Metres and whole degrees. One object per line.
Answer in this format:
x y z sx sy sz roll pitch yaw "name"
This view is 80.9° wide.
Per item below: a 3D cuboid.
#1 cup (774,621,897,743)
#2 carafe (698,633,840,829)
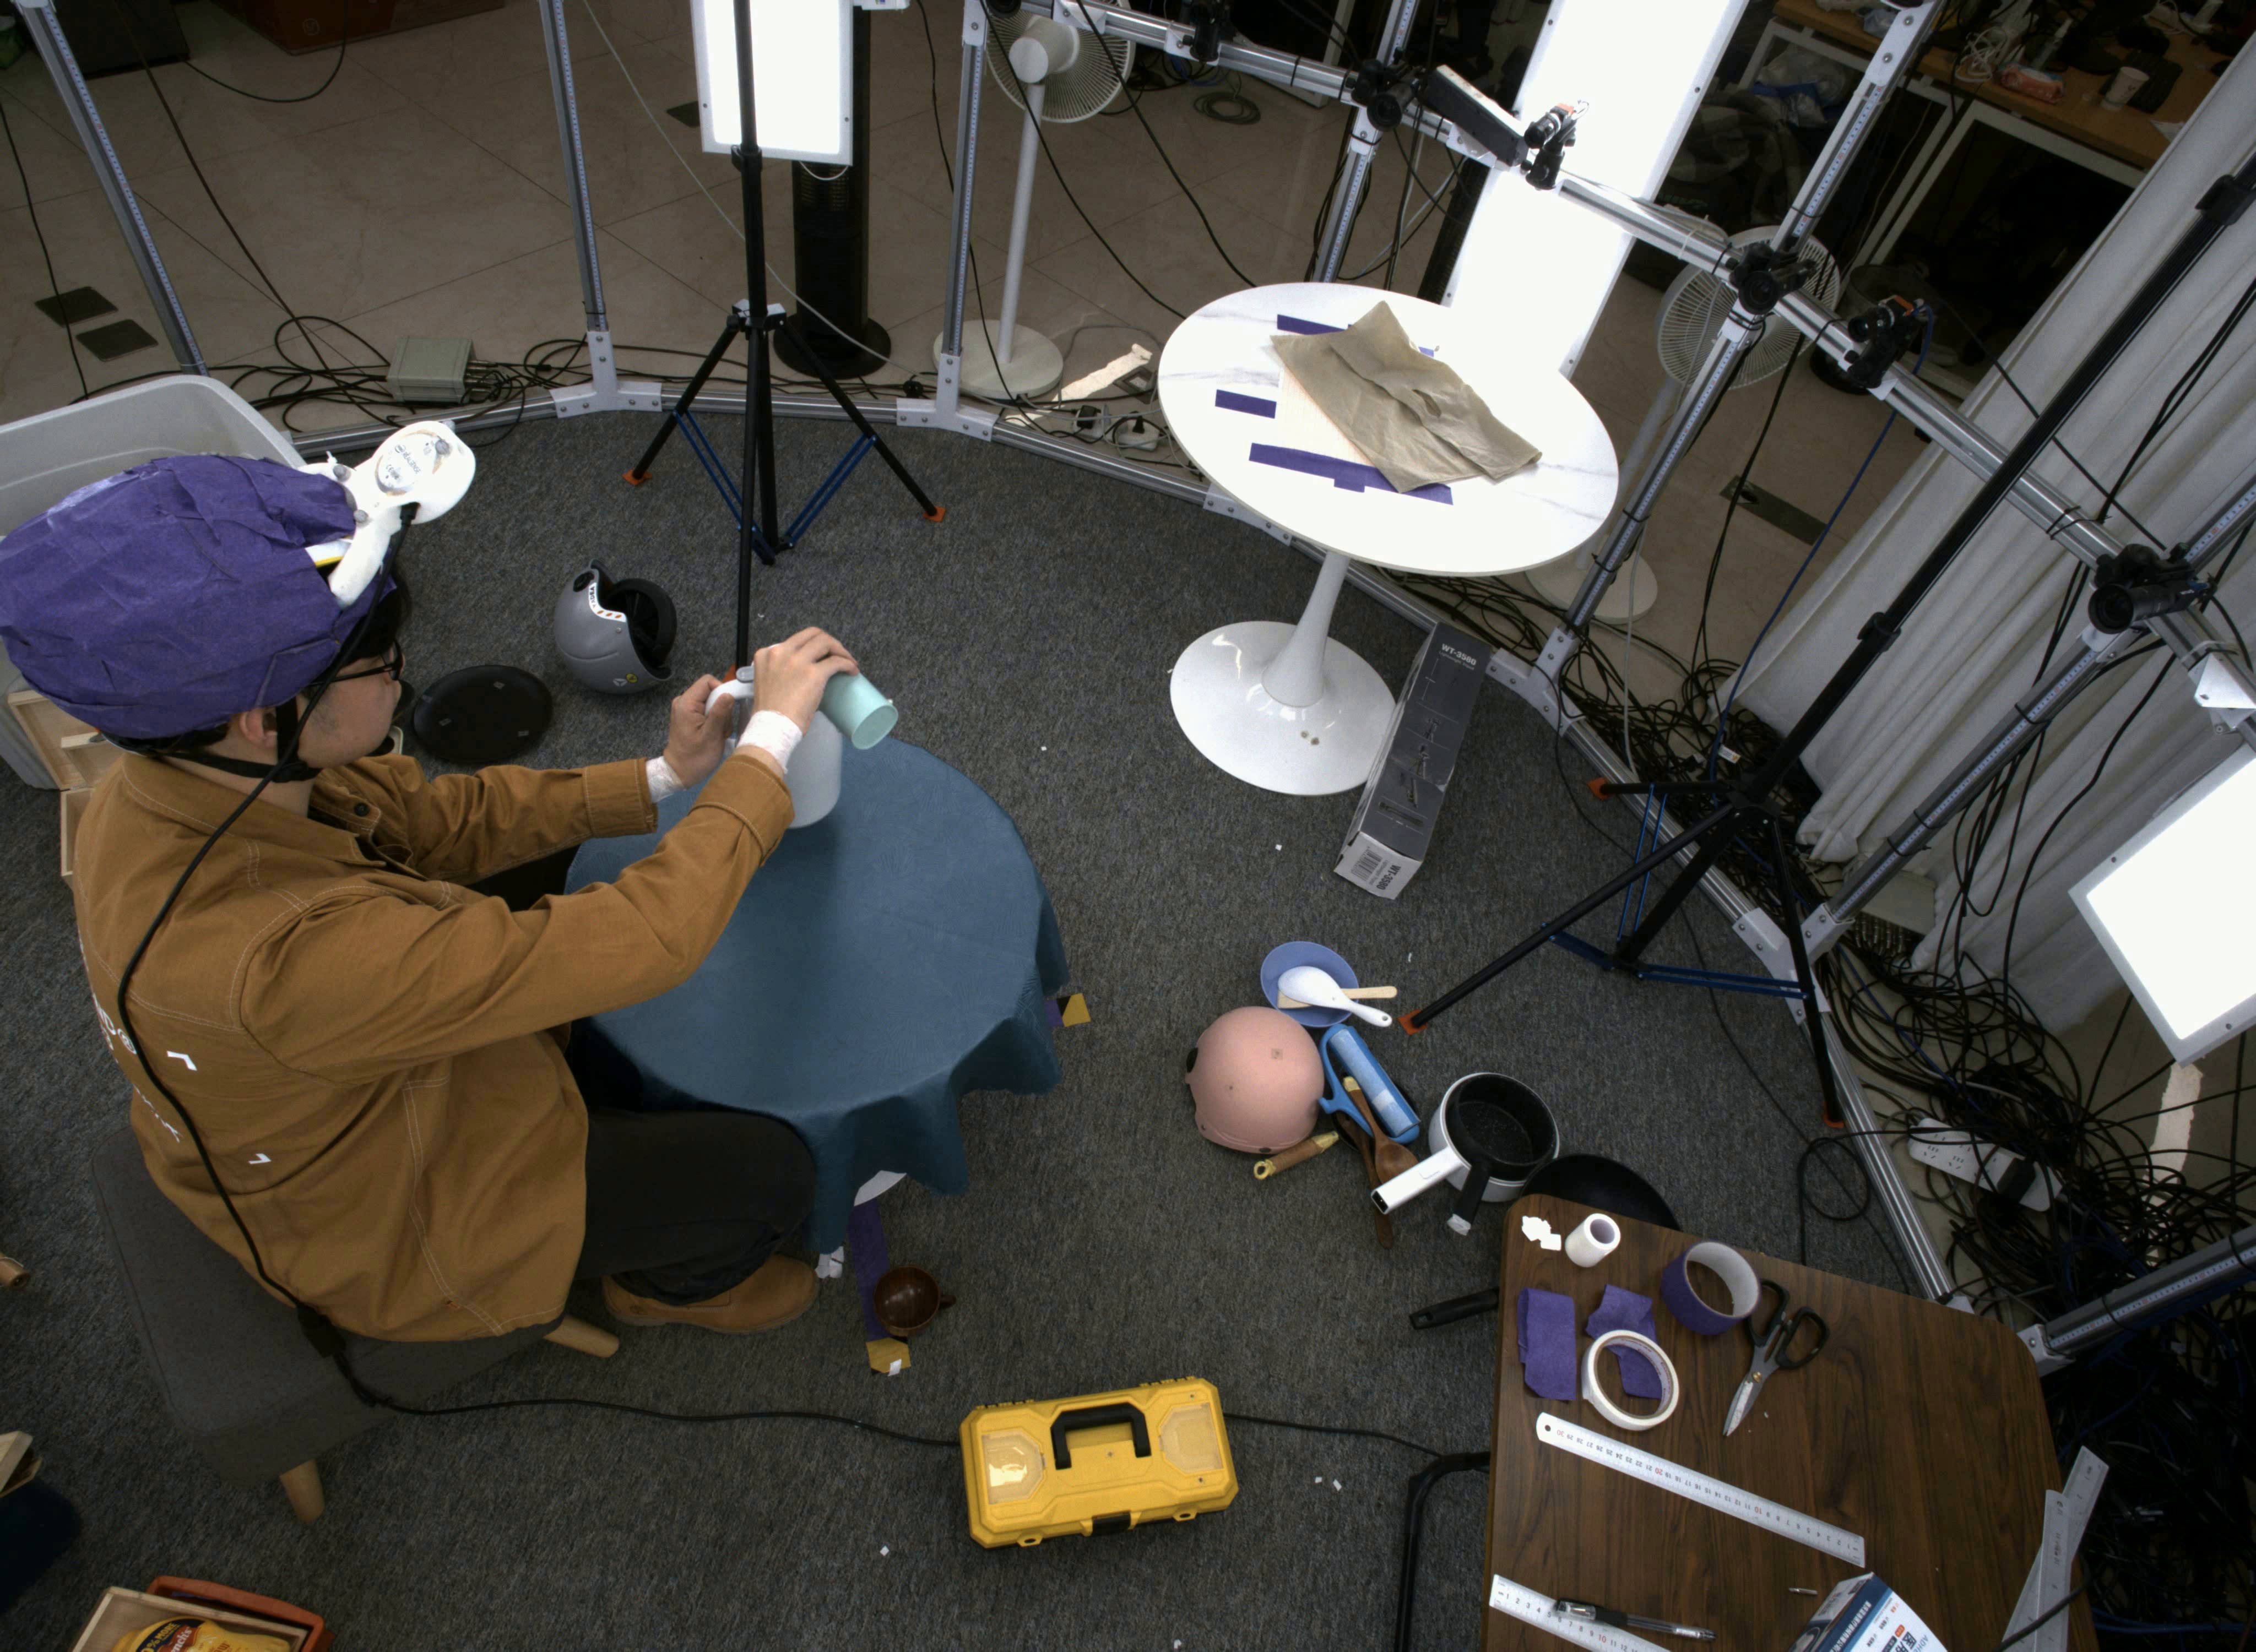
-0.318 -0.157 1.403 0.129 0.068 0.067 43 55 16 "cup"
-0.433 -0.118 1.566 0.168 0.252 0.130 -3 60 -16 "carafe"
